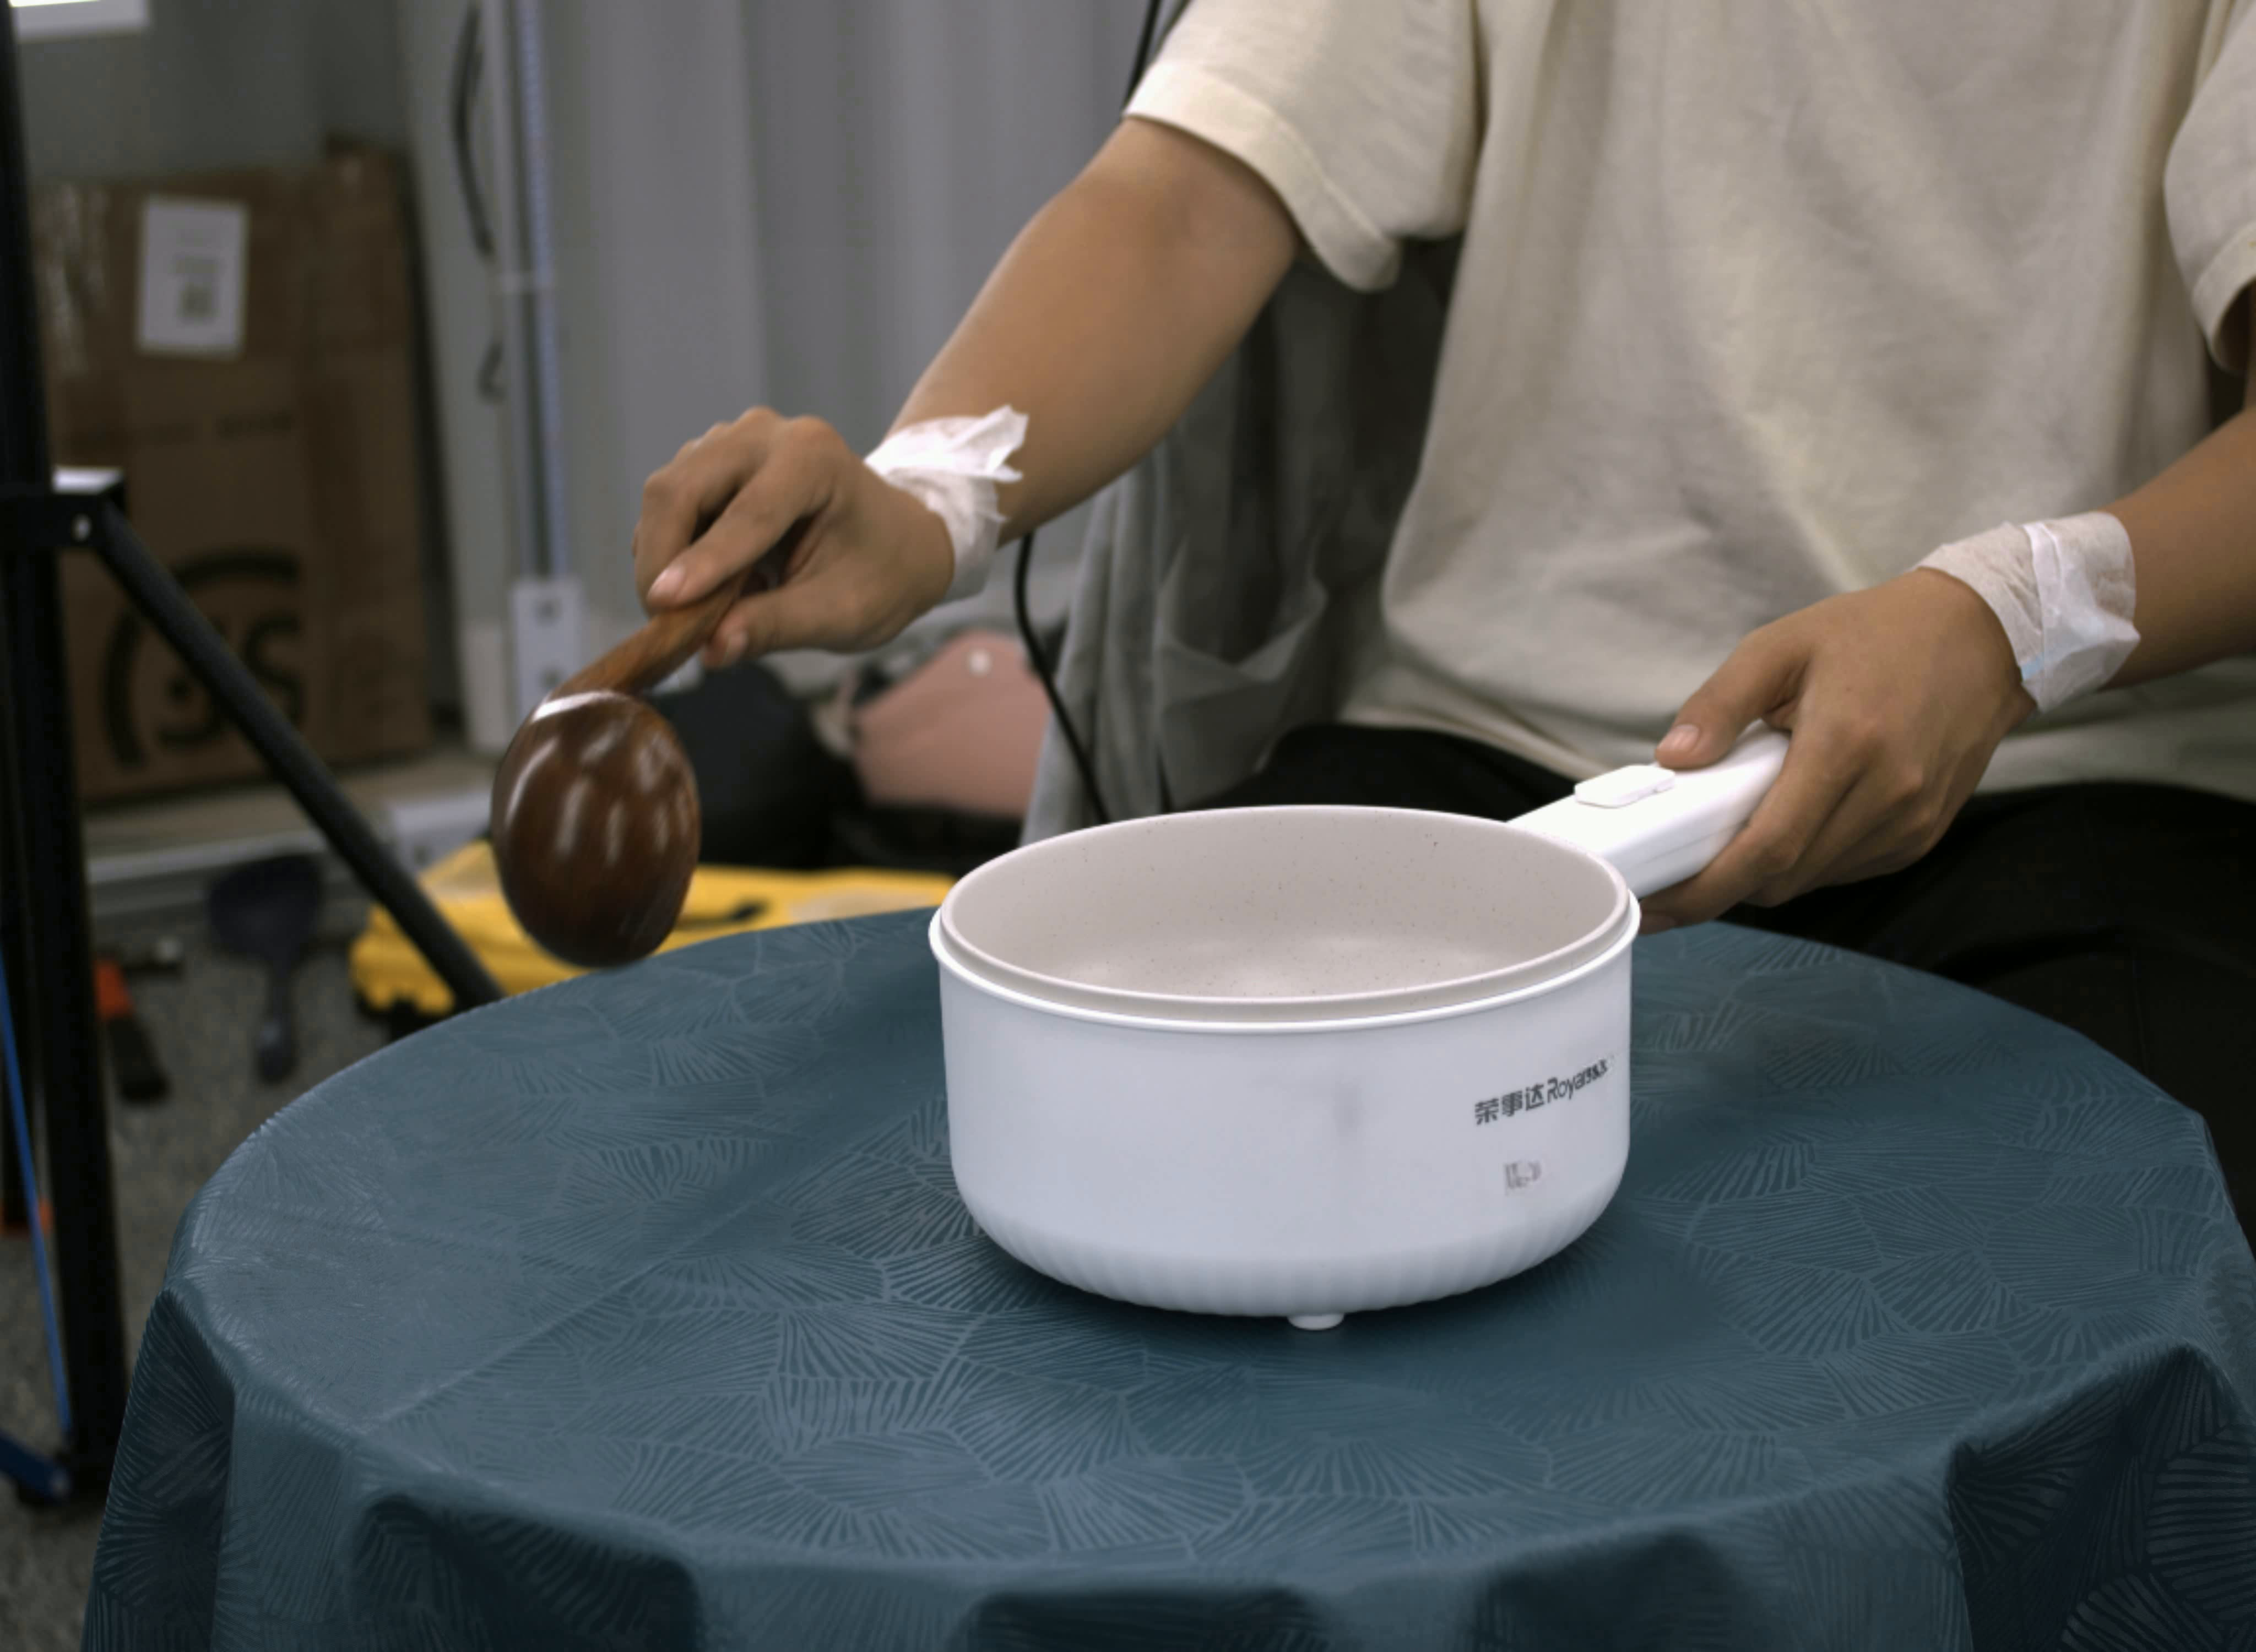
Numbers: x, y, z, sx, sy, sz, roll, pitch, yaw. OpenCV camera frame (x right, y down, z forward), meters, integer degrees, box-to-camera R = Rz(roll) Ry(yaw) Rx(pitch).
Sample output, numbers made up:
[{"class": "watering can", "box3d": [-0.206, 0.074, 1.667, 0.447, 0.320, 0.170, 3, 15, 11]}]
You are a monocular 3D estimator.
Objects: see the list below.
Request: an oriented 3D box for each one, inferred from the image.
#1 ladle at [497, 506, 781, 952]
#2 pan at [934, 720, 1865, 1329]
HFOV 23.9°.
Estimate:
[{"class": "ladle", "box3d": [-0.125, -0.040, 1.622, 0.077, 0.082, 0.272, 33, 23, 3]}, {"class": "pan", "box3d": [0.098, 0.052, 1.557, 0.206, 0.102, 0.347, 11, 20, 42]}]
